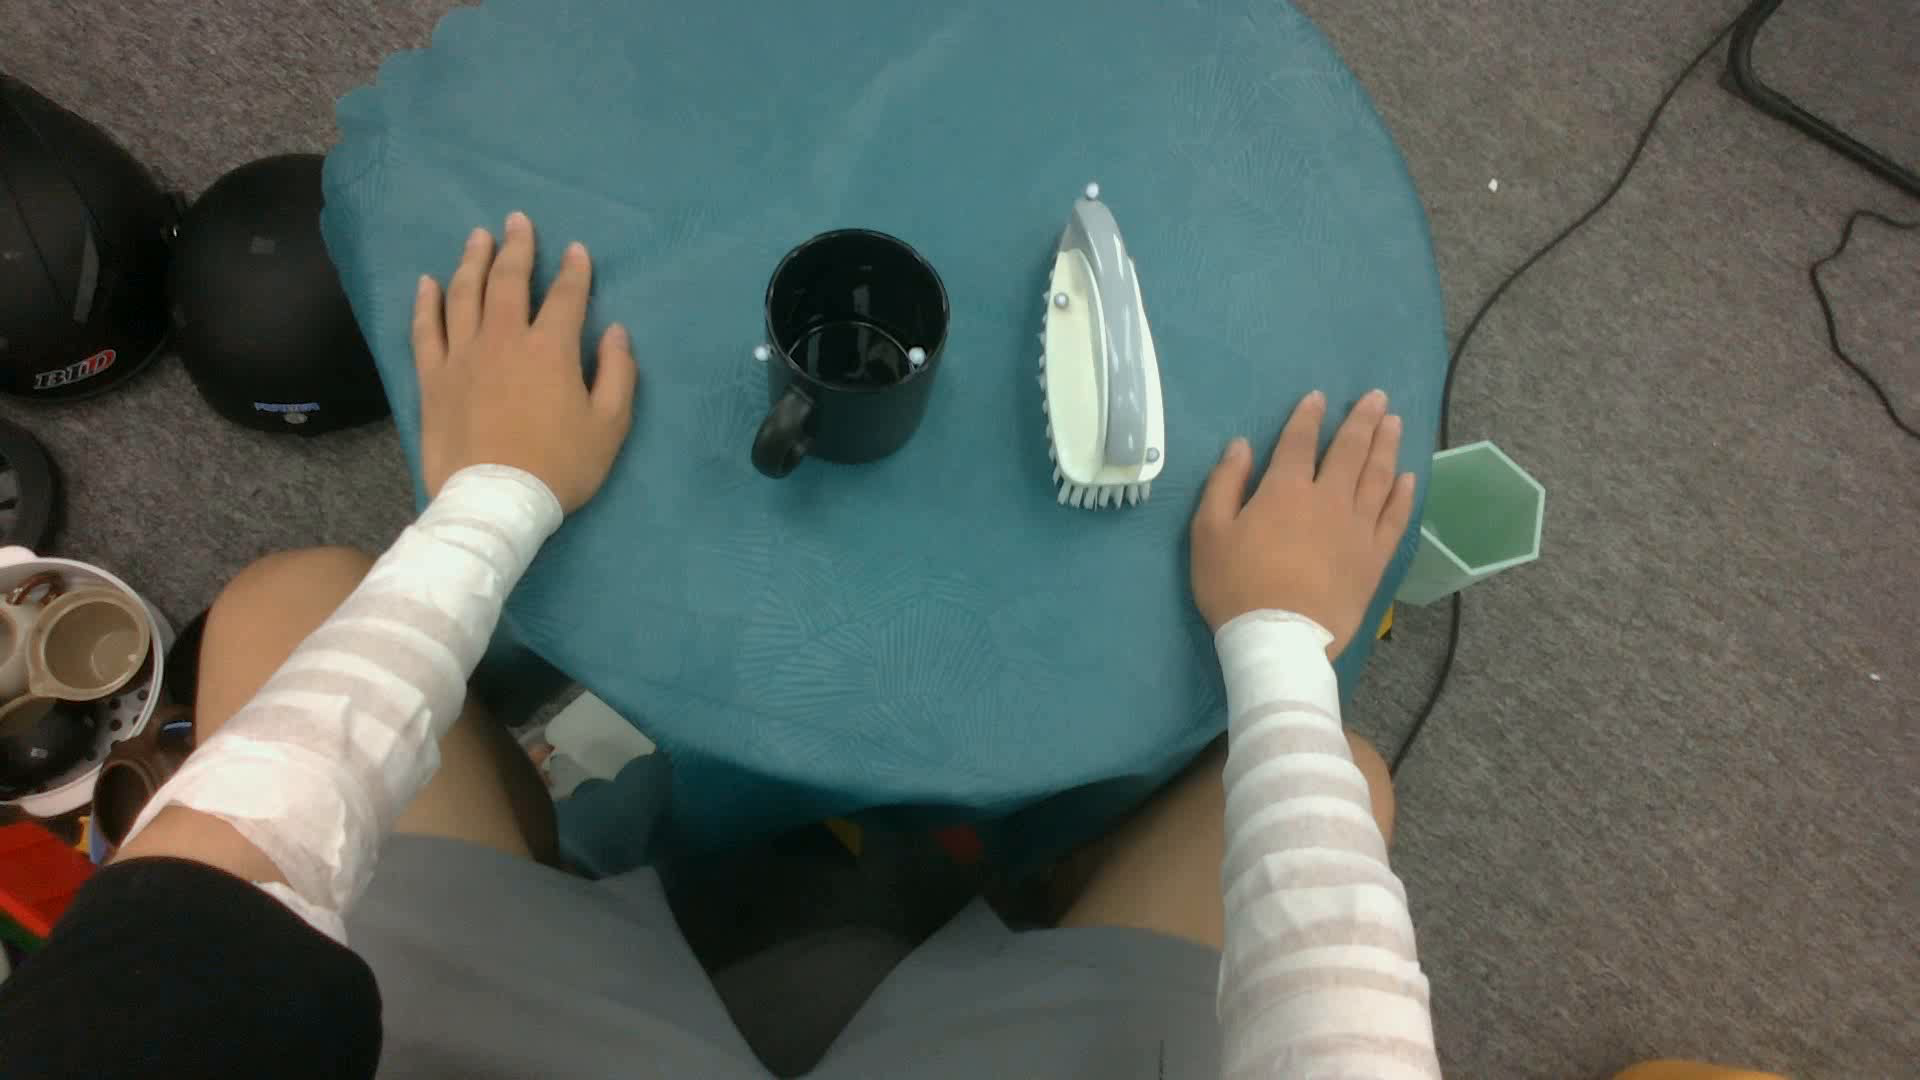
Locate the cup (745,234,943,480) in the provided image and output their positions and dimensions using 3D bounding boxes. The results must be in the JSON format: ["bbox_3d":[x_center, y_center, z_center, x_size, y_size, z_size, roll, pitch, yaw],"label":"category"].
[{"bbox_3d":[-0.069,-0.083,0.706,0.088,0.105,0.124,35,74,0],"label":"cup"}]

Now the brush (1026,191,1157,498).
[{"bbox_3d":[0.070,-0.118,0.737,0.061,0.094,0.176,-4,71,-9],"label":"brush"}]
